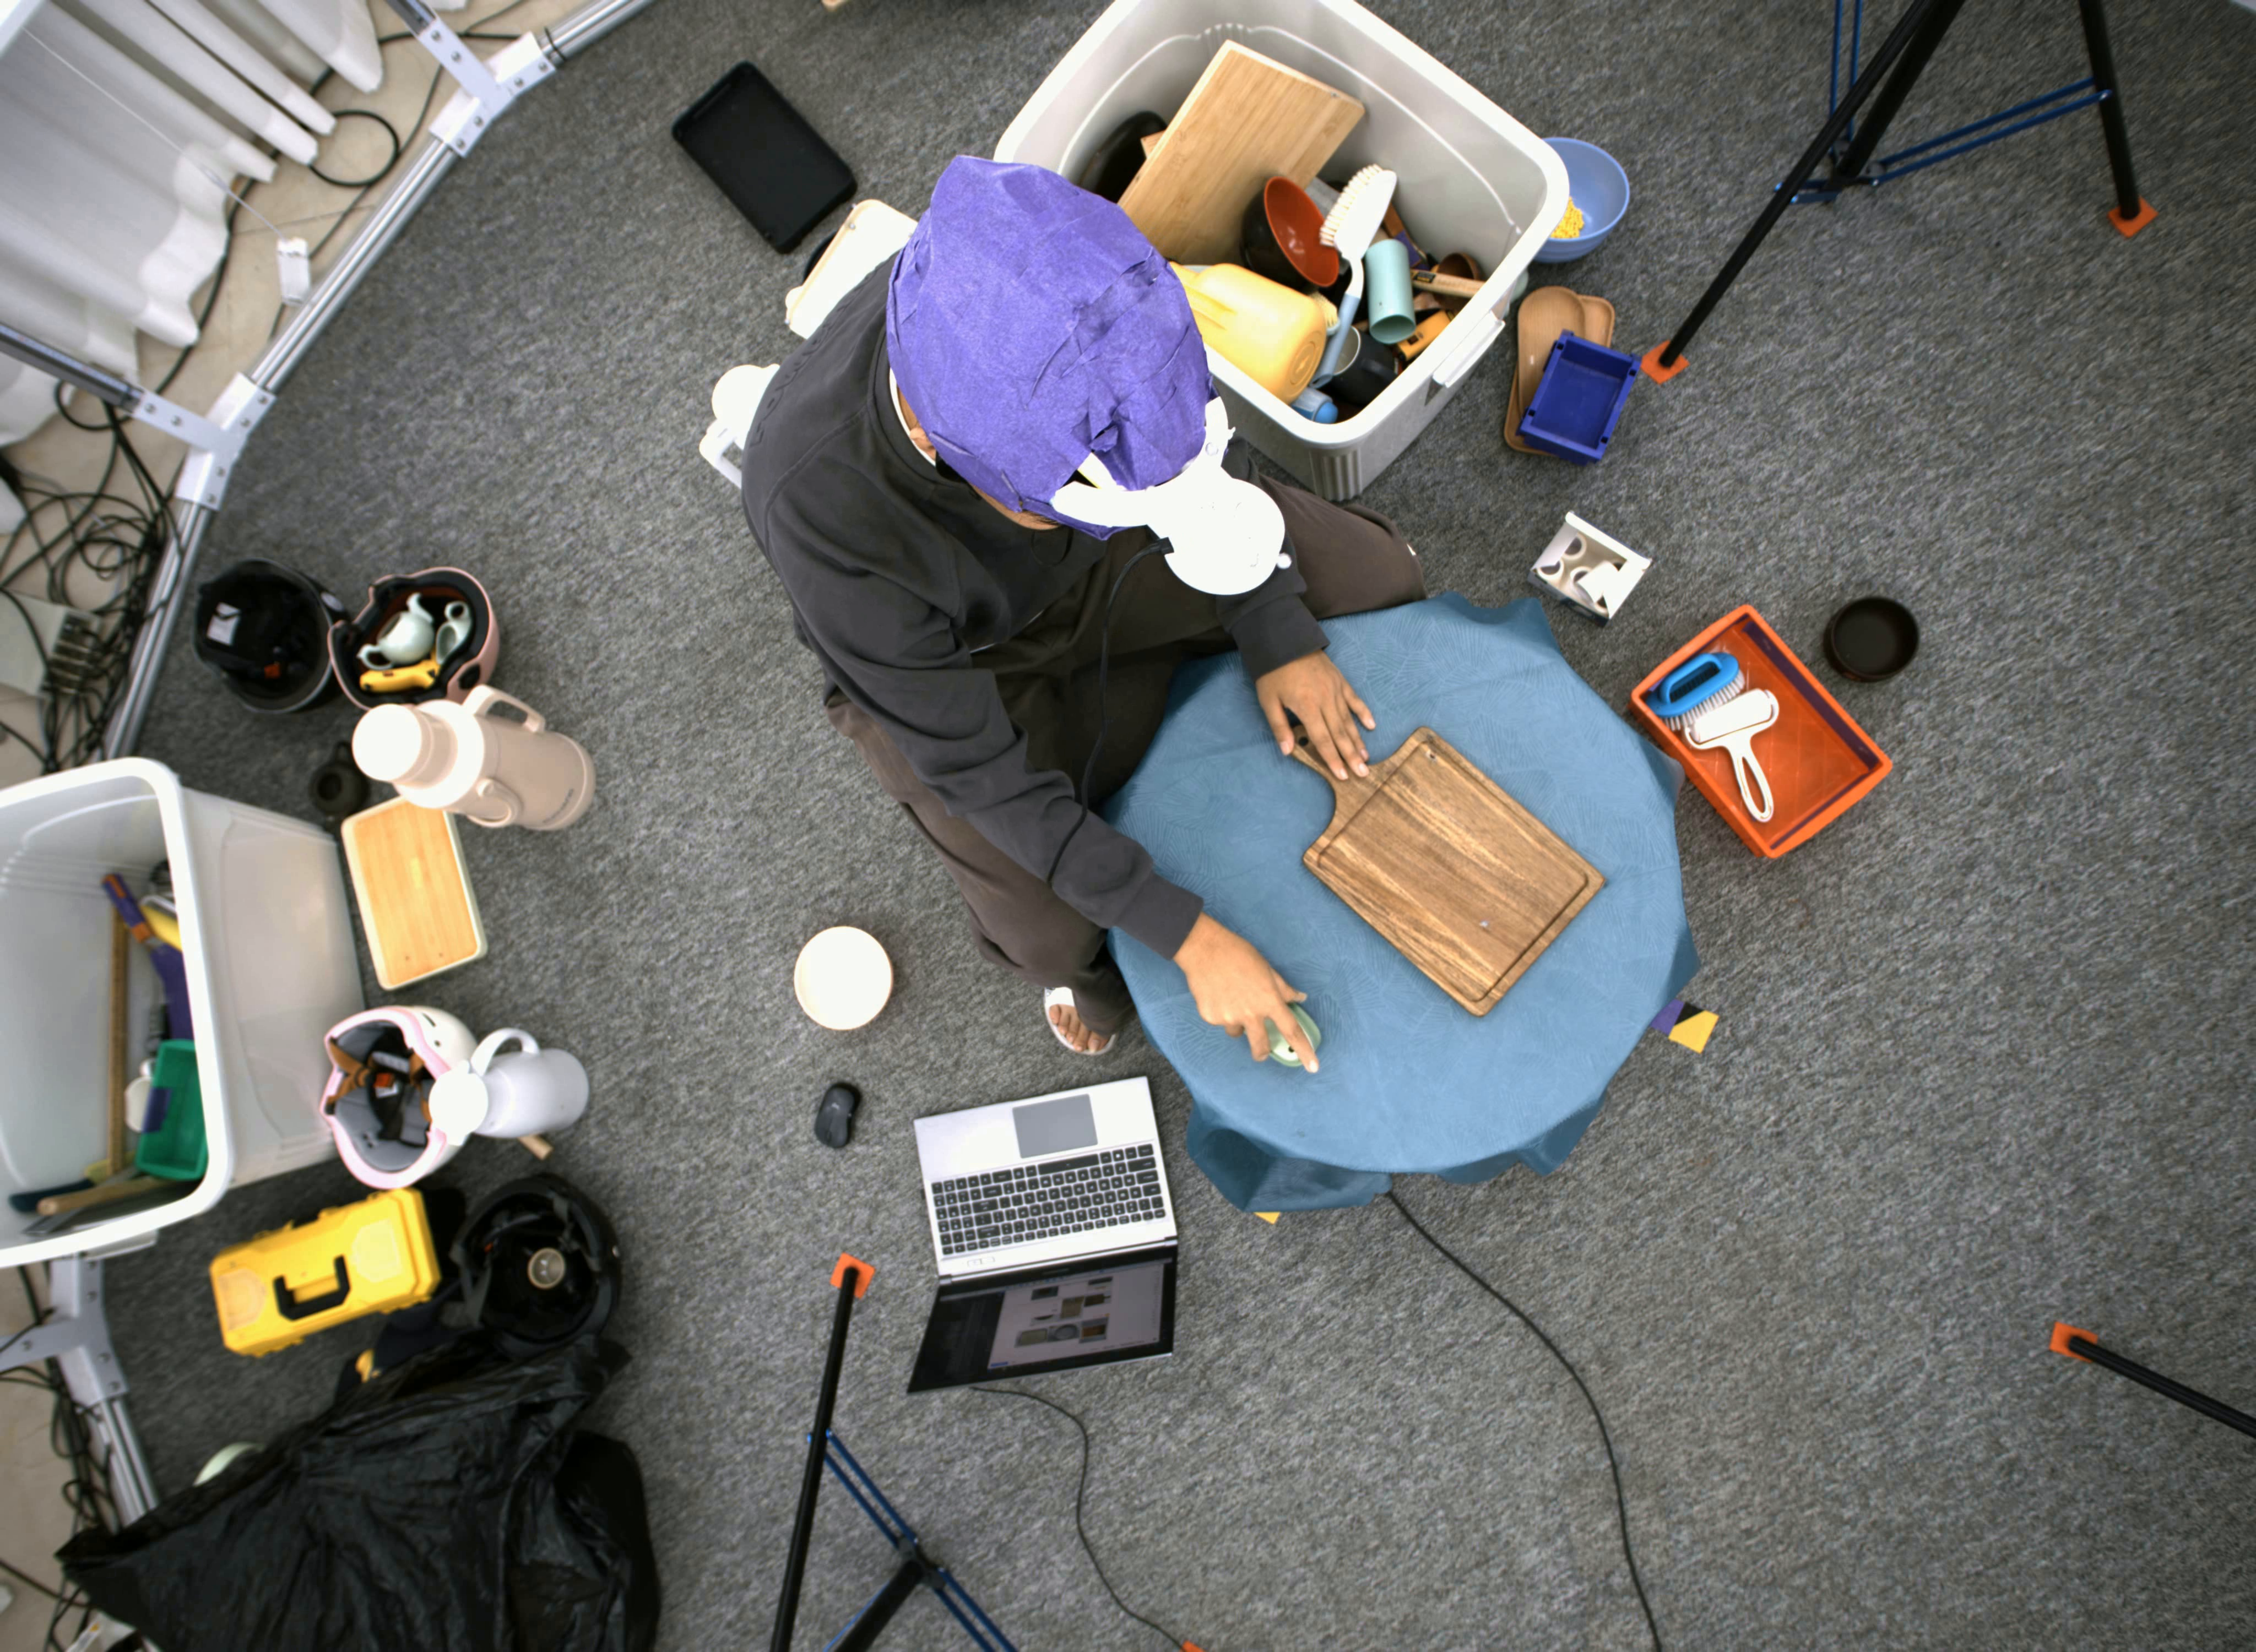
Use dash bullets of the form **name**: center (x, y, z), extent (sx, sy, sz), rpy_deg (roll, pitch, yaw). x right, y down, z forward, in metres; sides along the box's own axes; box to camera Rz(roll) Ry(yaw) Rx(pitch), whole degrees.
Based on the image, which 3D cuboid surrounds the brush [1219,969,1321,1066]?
- **brush**: center (0.149, 0.200, 1.450), extent (0.122, 0.076, 0.060), rpy_deg (41, 92, 24)

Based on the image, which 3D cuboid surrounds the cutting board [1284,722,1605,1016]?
- **cutting board**: center (0.302, 0.010, 1.448), extent (0.350, 0.023, 0.202), rpy_deg (43, 95, 11)
